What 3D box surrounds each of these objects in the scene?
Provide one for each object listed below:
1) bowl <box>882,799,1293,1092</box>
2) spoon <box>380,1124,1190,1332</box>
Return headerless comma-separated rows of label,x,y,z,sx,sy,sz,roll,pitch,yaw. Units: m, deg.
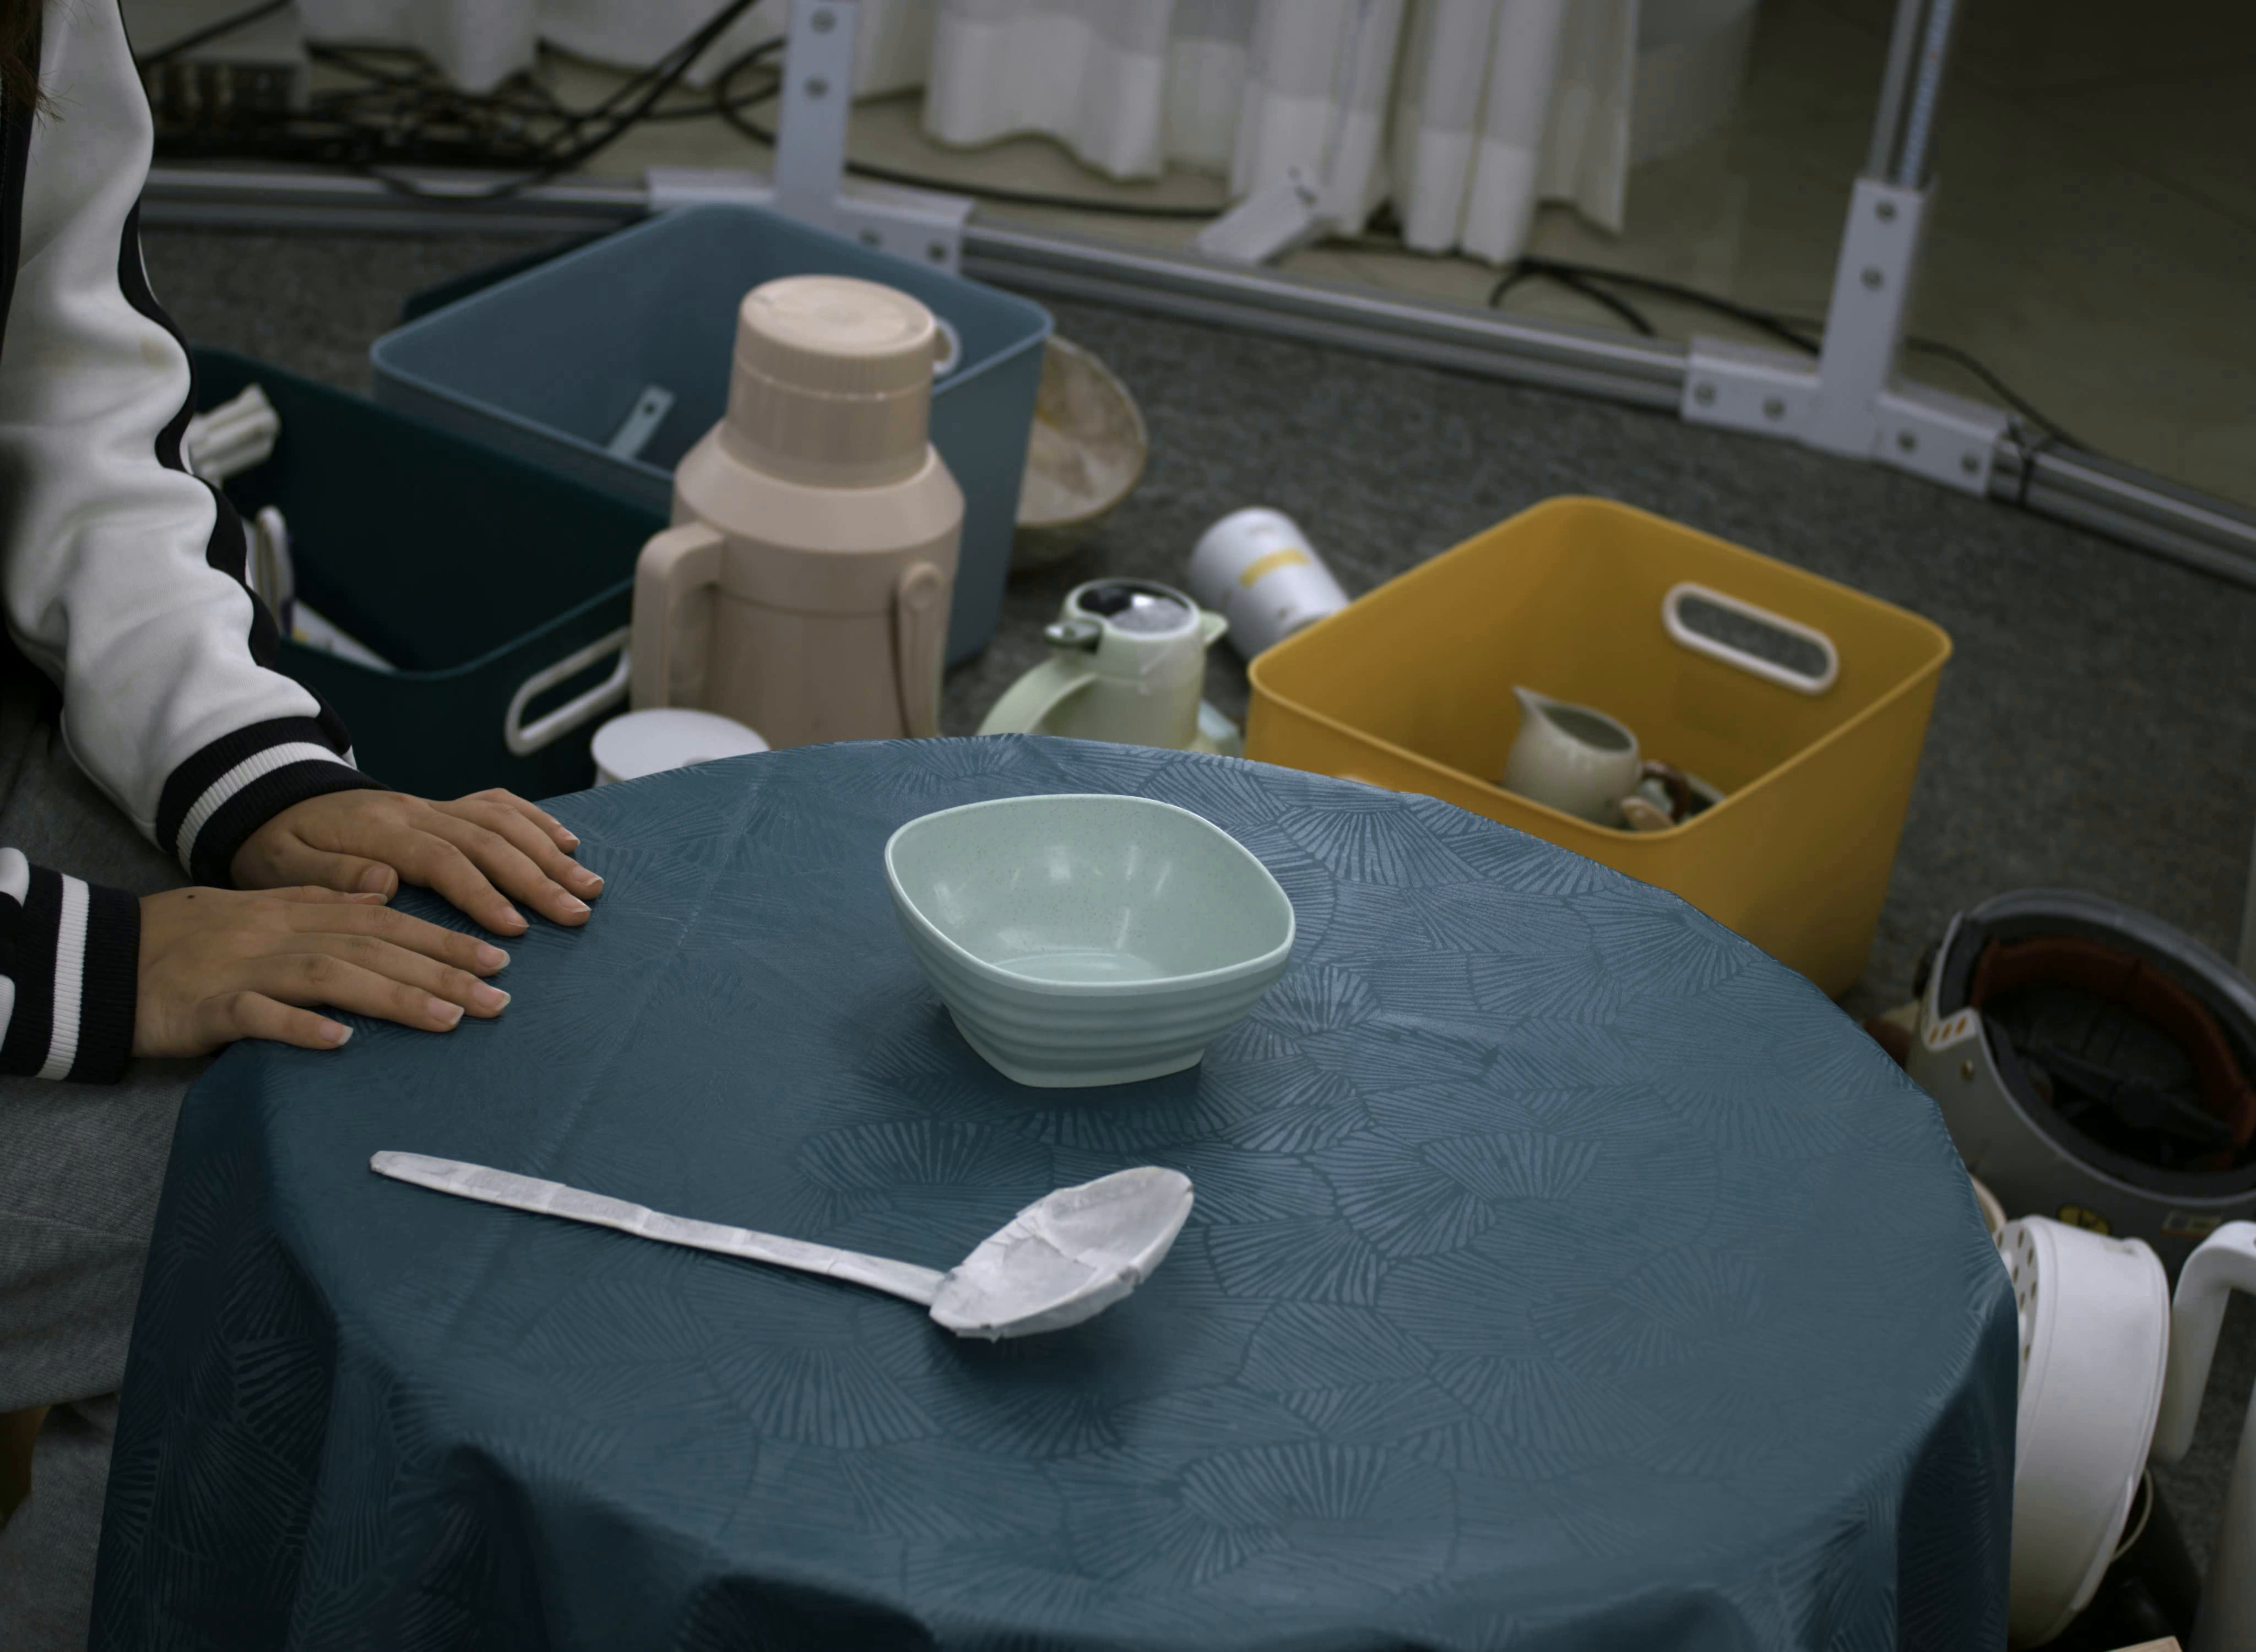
bowl,-0.017,0.048,1.888,0.151,0.058,0.152,5,27,-3
spoon,-0.115,0.112,1.737,0.278,0.059,0.101,14,23,15
